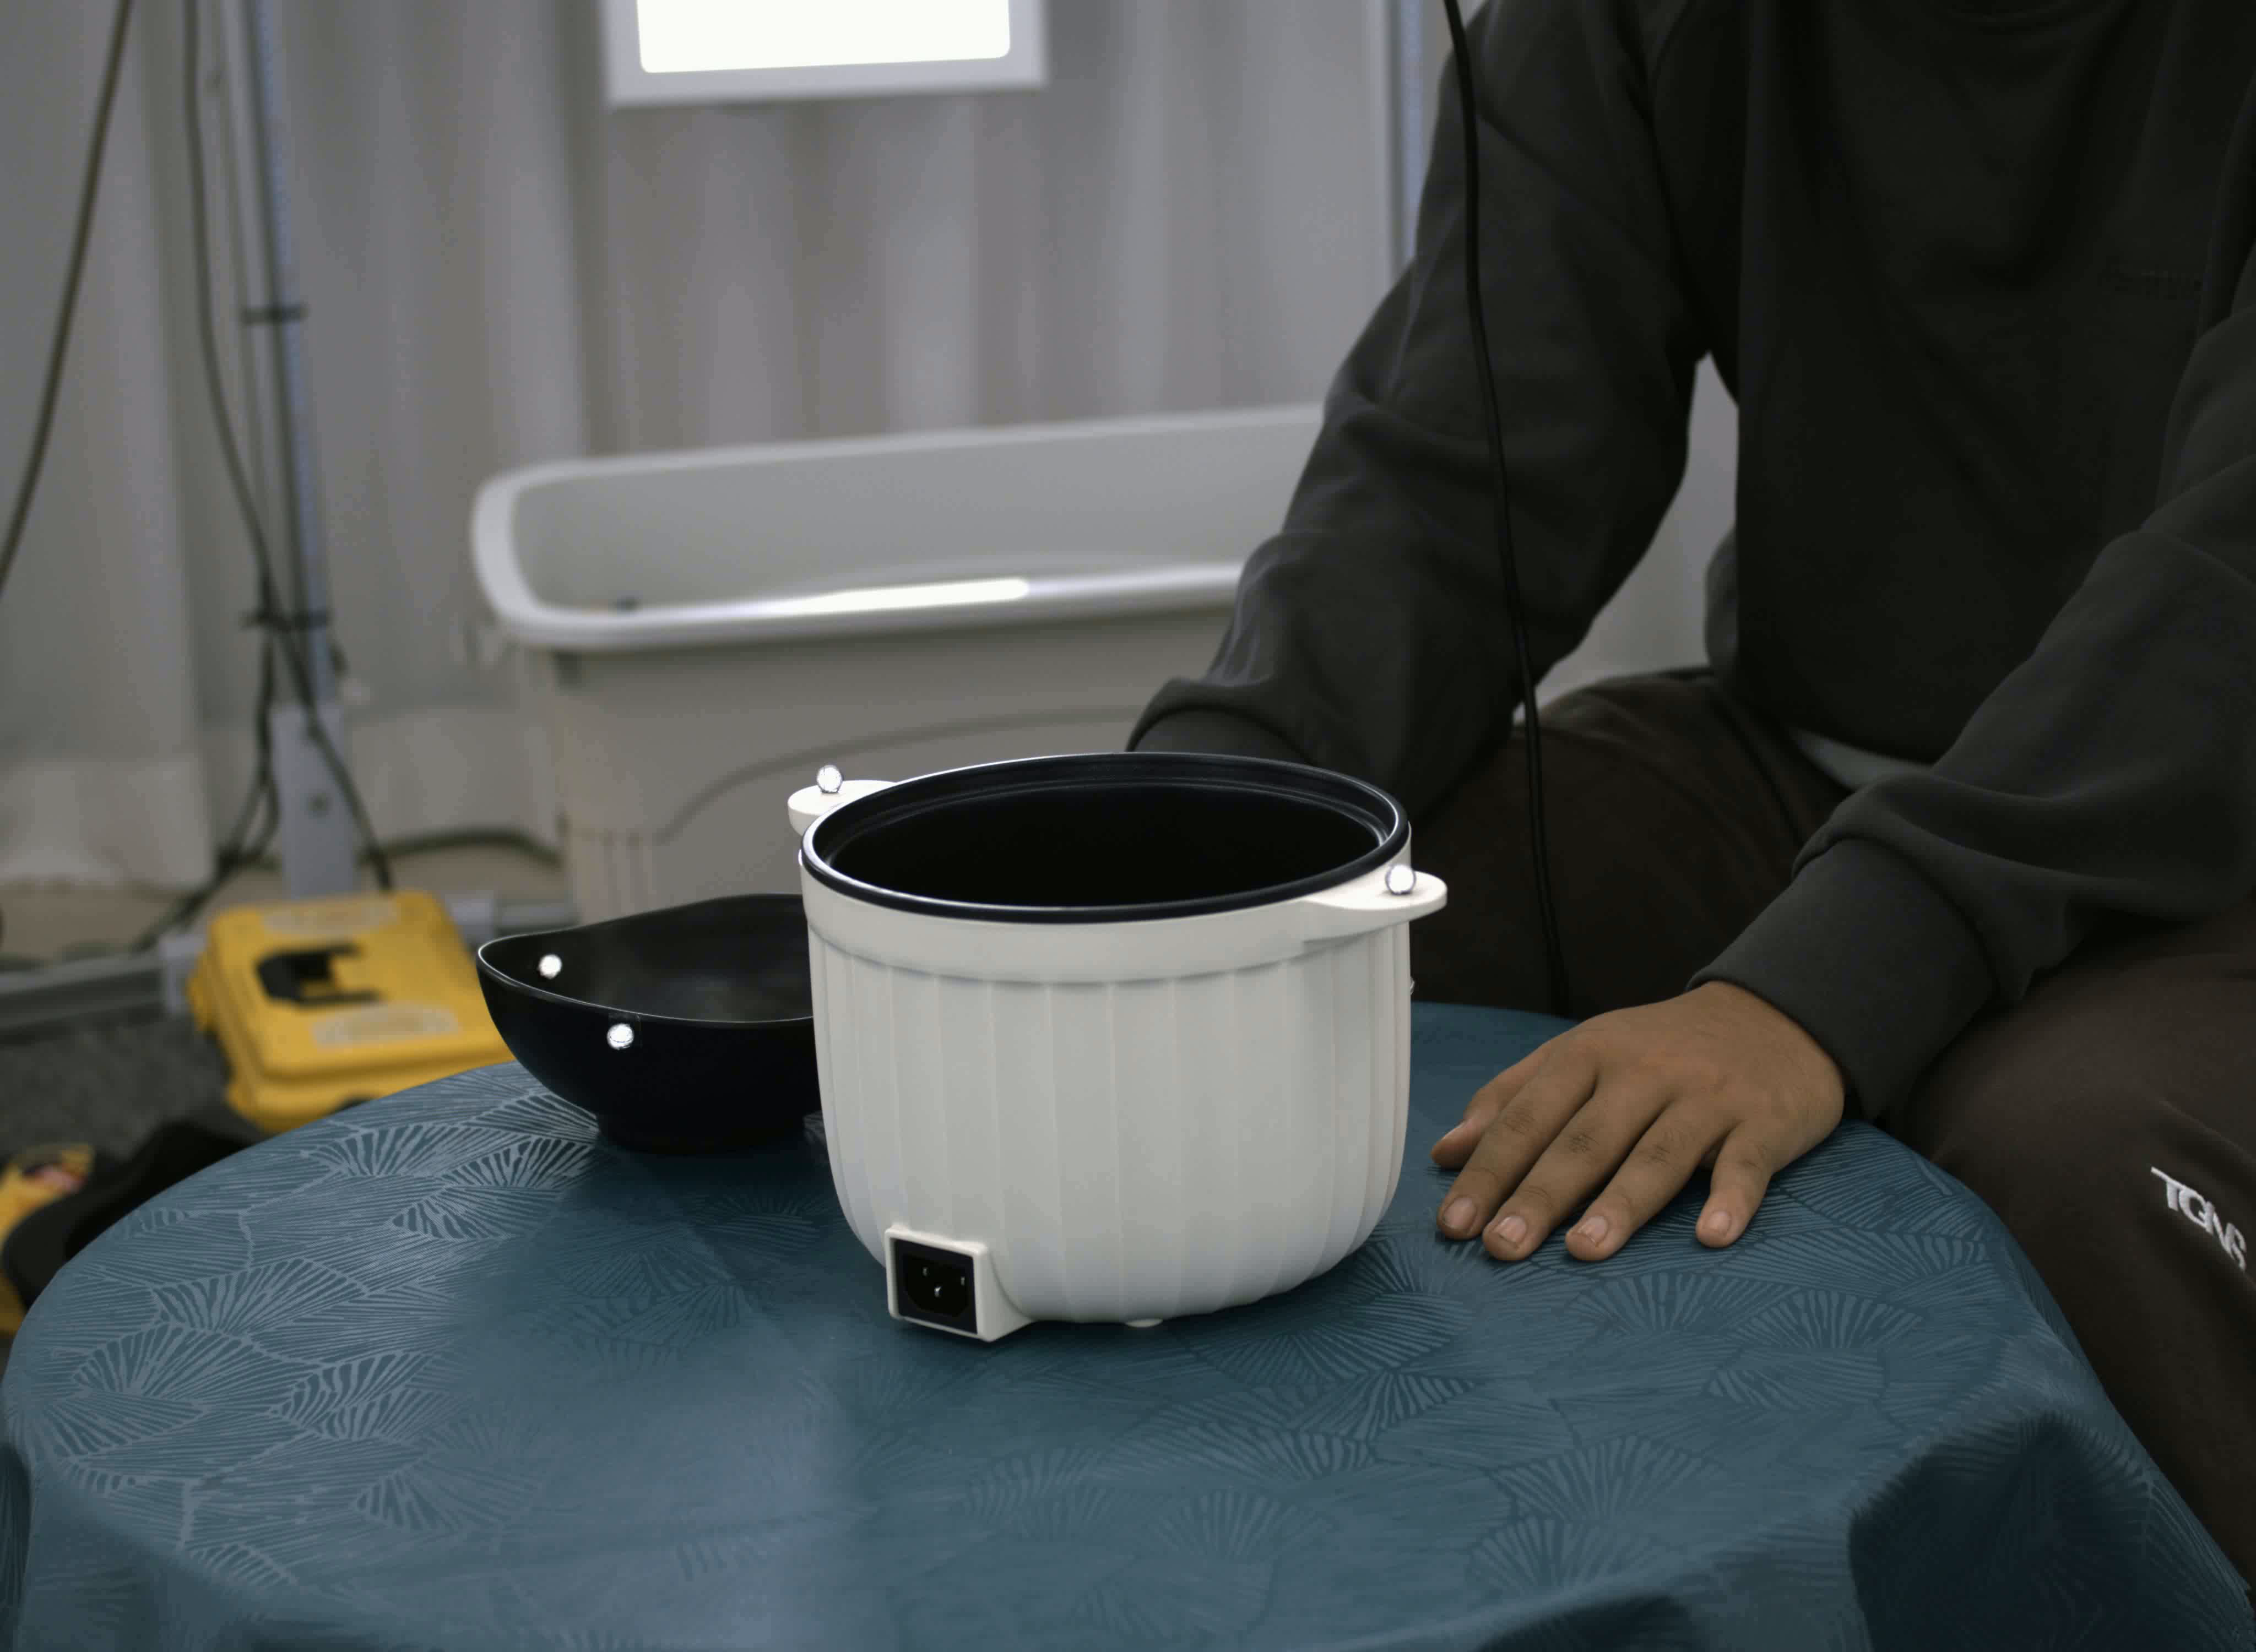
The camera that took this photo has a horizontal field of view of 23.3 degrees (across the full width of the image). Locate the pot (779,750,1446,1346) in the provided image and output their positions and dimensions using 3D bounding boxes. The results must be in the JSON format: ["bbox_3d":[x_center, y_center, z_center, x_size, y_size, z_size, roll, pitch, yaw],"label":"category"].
[{"bbox_3d":[-0.003,0.064,1.644,0.241,0.142,0.190,10,22,37],"label":"pot"}]

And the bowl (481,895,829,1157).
[{"bbox_3d":[-0.141,0.068,1.792,0.137,0.066,0.171,-11,16,-30],"label":"bowl"}]
